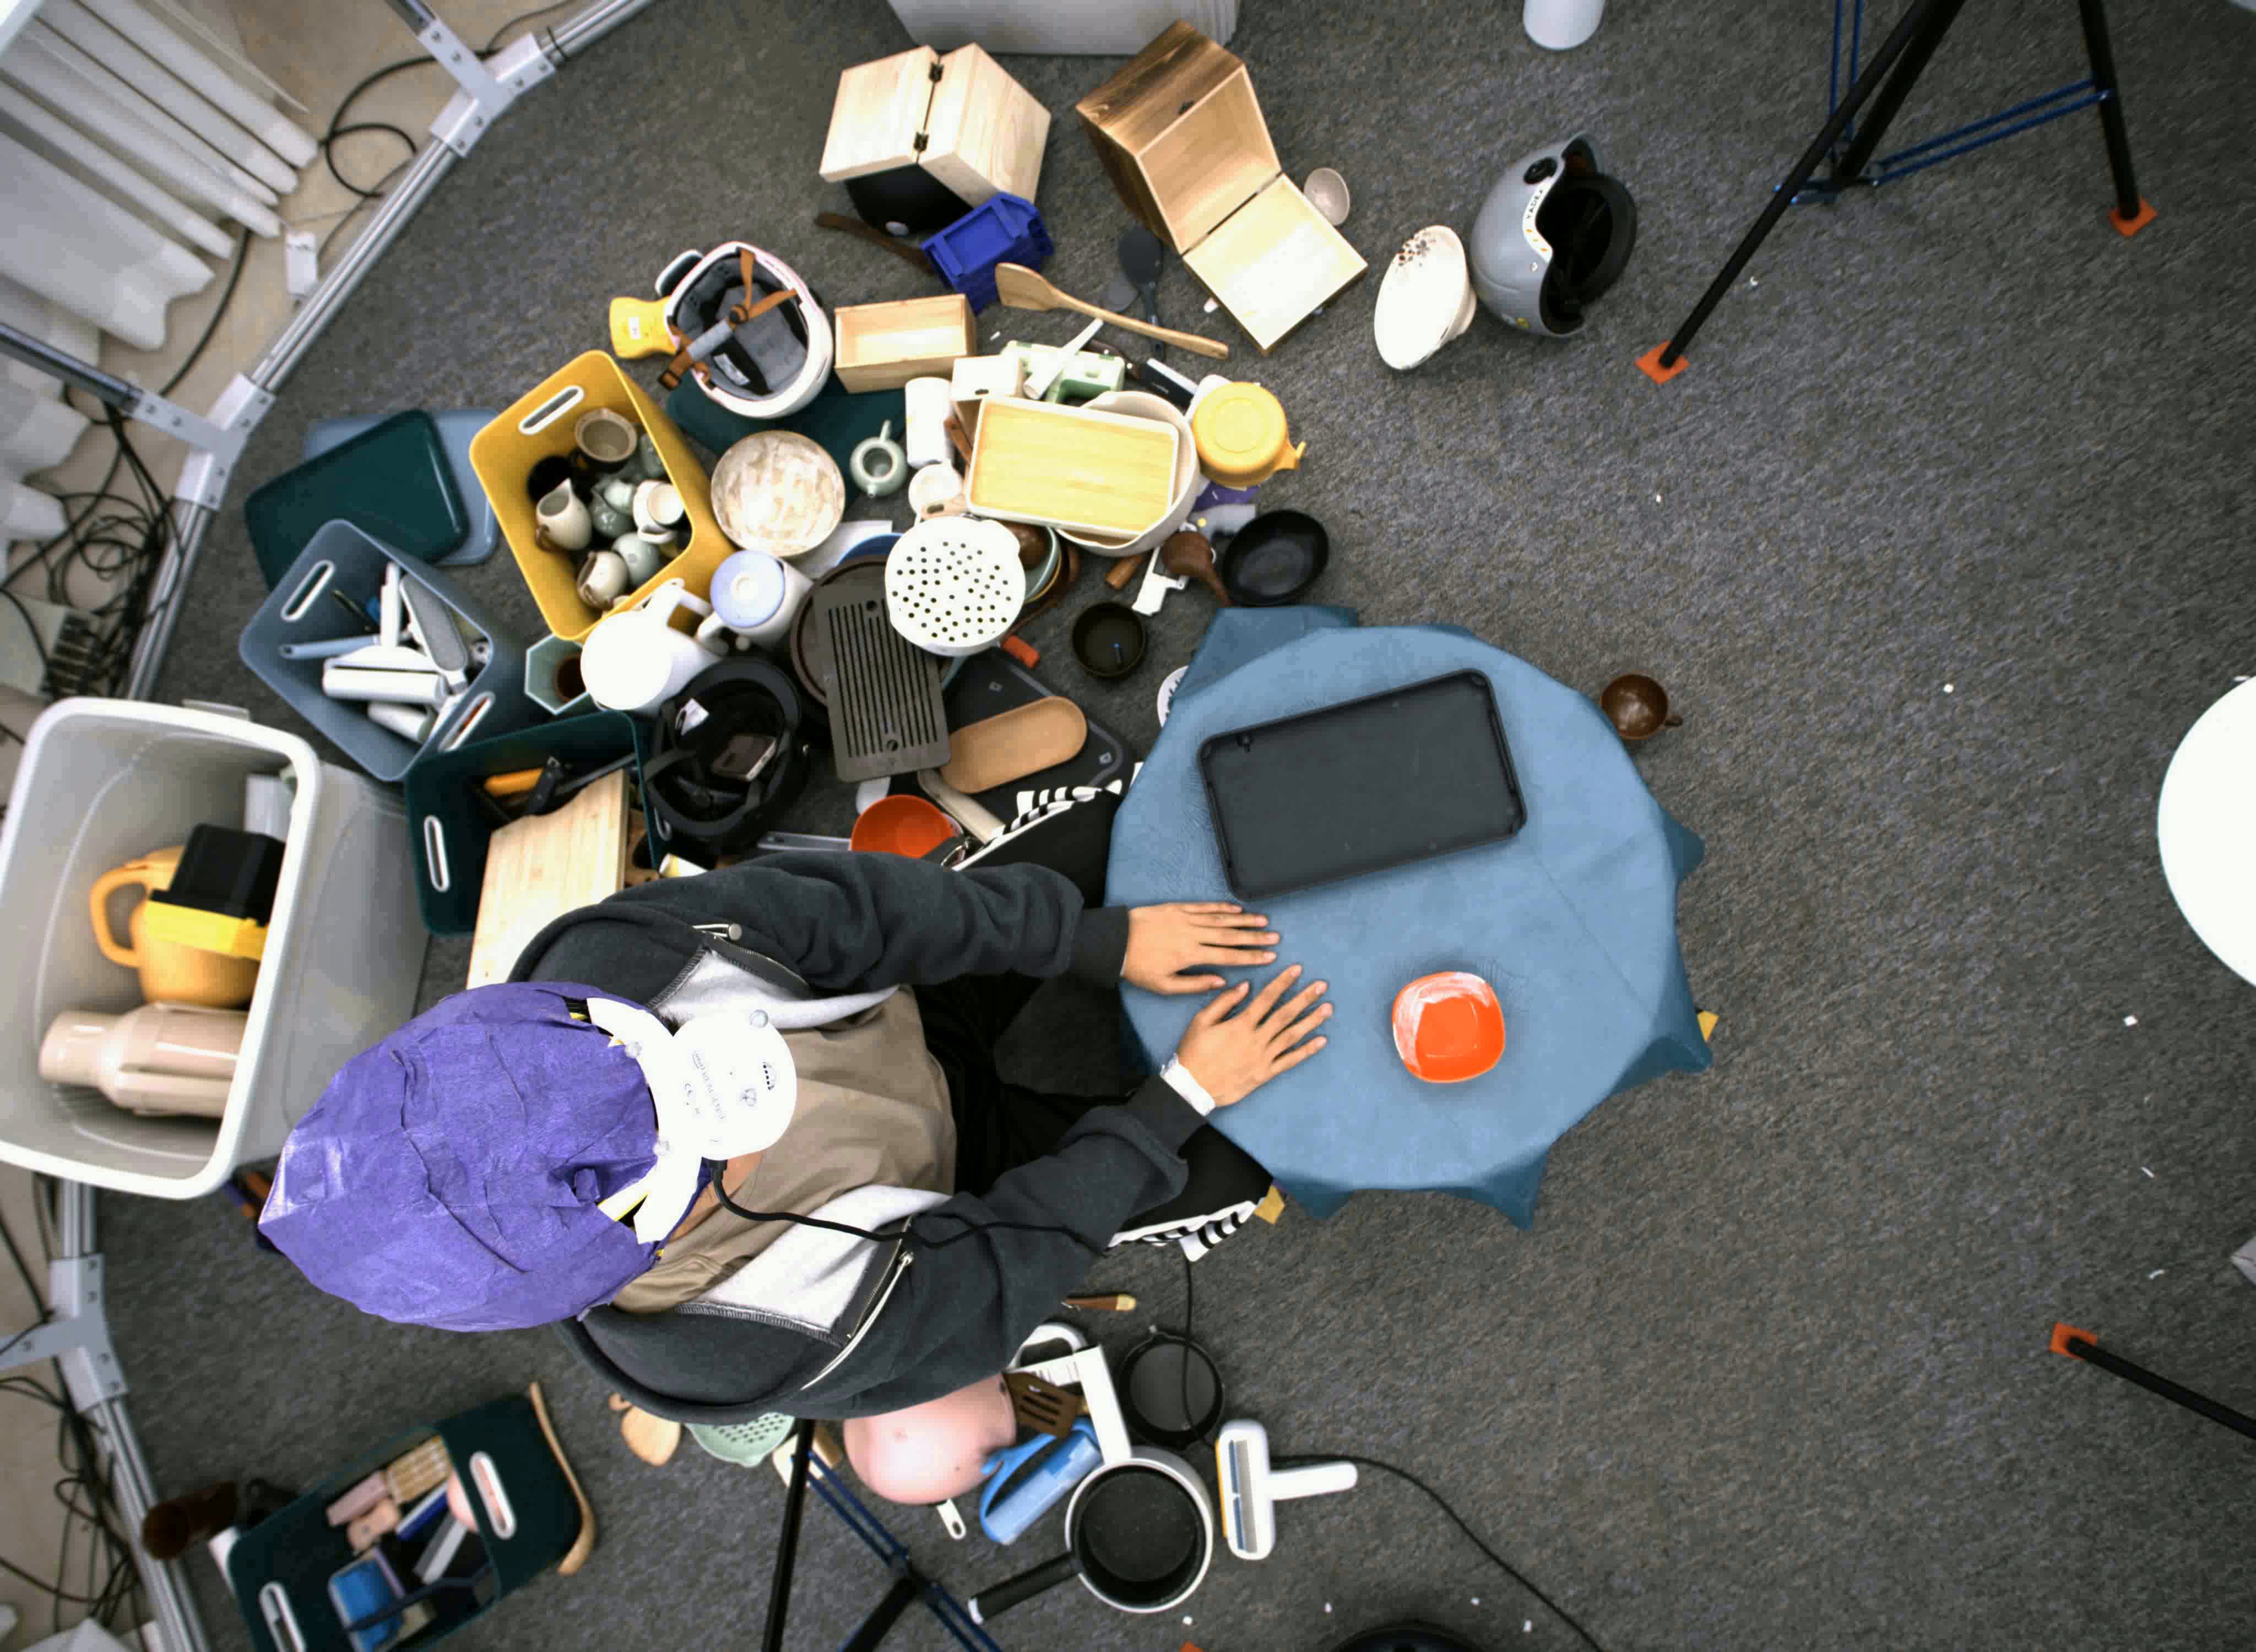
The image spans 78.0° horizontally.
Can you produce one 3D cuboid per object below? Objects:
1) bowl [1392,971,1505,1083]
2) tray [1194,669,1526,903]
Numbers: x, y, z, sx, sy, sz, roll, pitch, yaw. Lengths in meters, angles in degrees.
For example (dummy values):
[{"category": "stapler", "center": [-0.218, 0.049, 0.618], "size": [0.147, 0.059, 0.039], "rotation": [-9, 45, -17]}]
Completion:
[{"category": "bowl", "center": [0.326, 0.203, 1.414], "size": [0.119, 0.051, 0.118], "rotation": [-1, 87, 9]}, {"category": "tray", "center": [0.242, -0.041, 1.452], "size": [0.319, 0.037, 0.183], "rotation": [-15, 84, 9]}]
